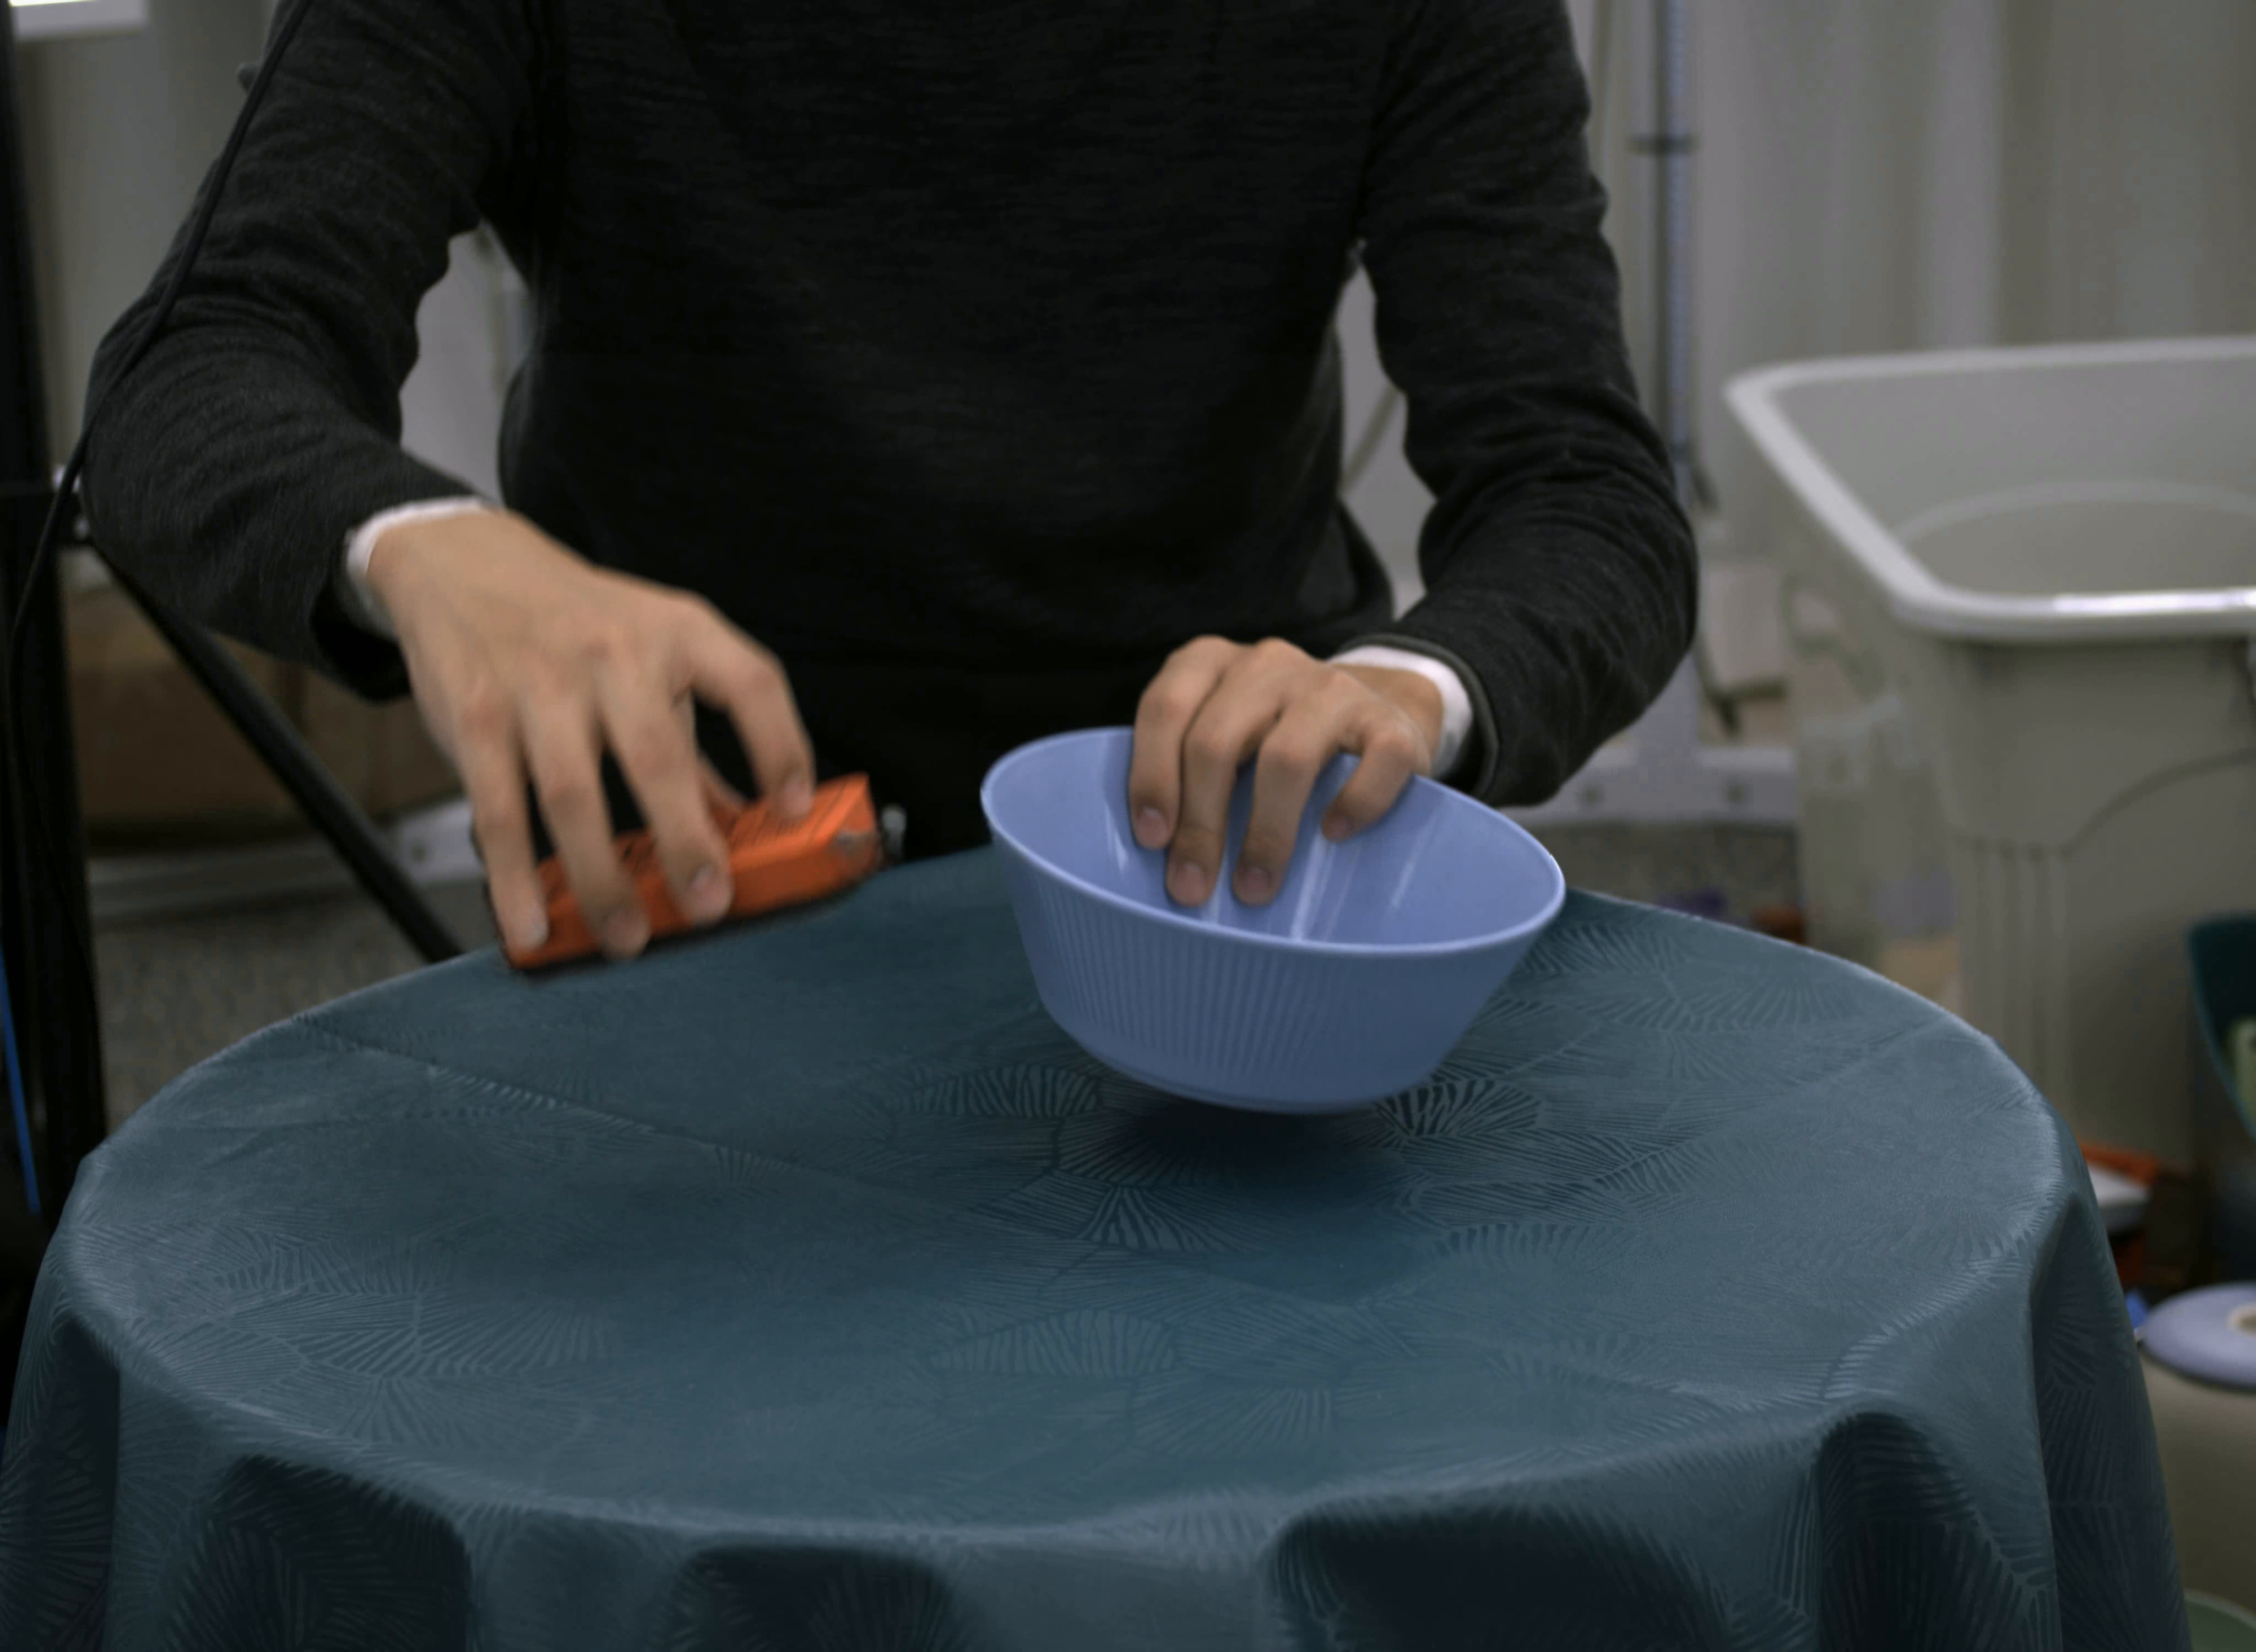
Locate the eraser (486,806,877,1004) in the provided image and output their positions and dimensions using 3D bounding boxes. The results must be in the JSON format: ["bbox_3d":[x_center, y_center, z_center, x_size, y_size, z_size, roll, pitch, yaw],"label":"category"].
[{"bbox_3d":[-0.130,0.023,1.559,0.109,0.023,0.058,-13,18,19],"label":"eraser"}]

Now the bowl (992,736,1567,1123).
[{"bbox_3d":[0.040,0.035,1.590,0.174,0.070,0.177,8,20,-4],"label":"bowl"}]
